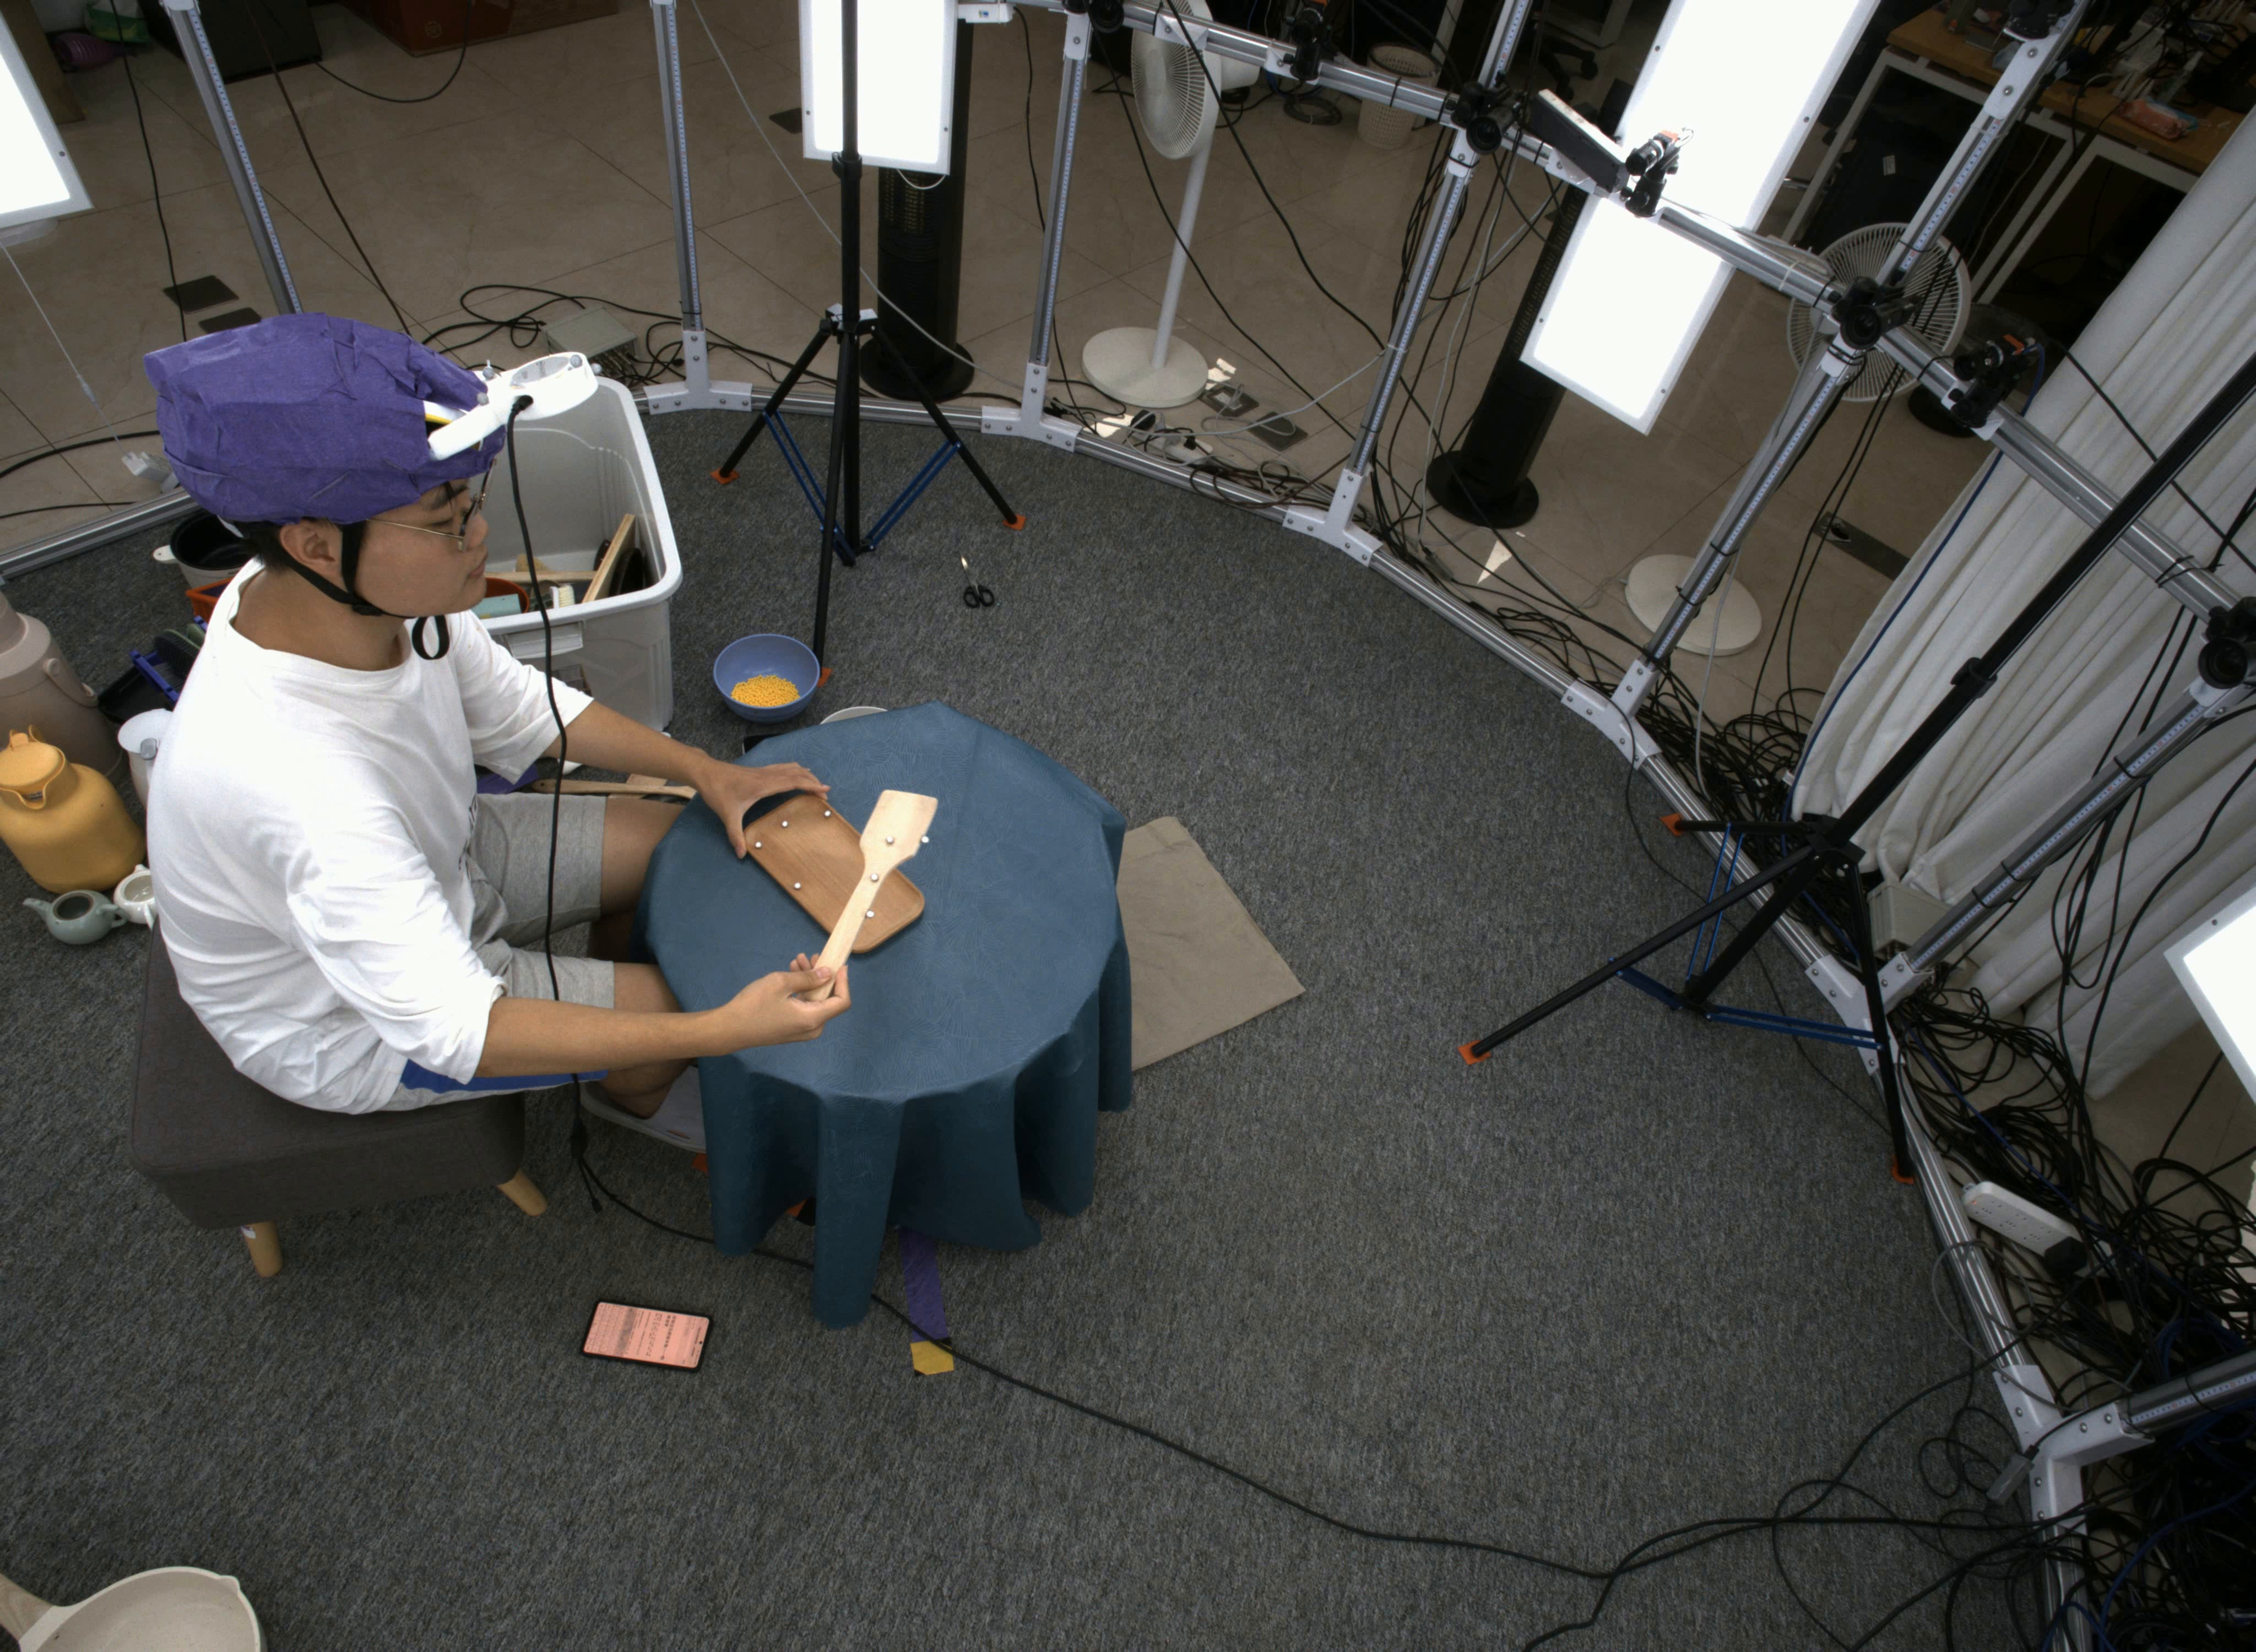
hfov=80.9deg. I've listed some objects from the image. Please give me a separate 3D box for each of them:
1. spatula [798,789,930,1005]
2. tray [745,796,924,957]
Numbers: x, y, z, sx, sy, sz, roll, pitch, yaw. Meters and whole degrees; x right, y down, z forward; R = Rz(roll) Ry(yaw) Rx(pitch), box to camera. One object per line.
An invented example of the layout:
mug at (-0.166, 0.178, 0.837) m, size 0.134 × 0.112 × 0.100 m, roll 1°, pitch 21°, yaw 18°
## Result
spatula at (-0.294, 0.072, 1.423) m, size 0.071 × 0.011 × 0.290 m, roll 11°, pitch 52°, yaw 9°
tray at (-0.383, 0.062, 1.689) m, size 0.131 × 0.023 × 0.245 m, roll -36°, pitch 69°, yaw -30°
